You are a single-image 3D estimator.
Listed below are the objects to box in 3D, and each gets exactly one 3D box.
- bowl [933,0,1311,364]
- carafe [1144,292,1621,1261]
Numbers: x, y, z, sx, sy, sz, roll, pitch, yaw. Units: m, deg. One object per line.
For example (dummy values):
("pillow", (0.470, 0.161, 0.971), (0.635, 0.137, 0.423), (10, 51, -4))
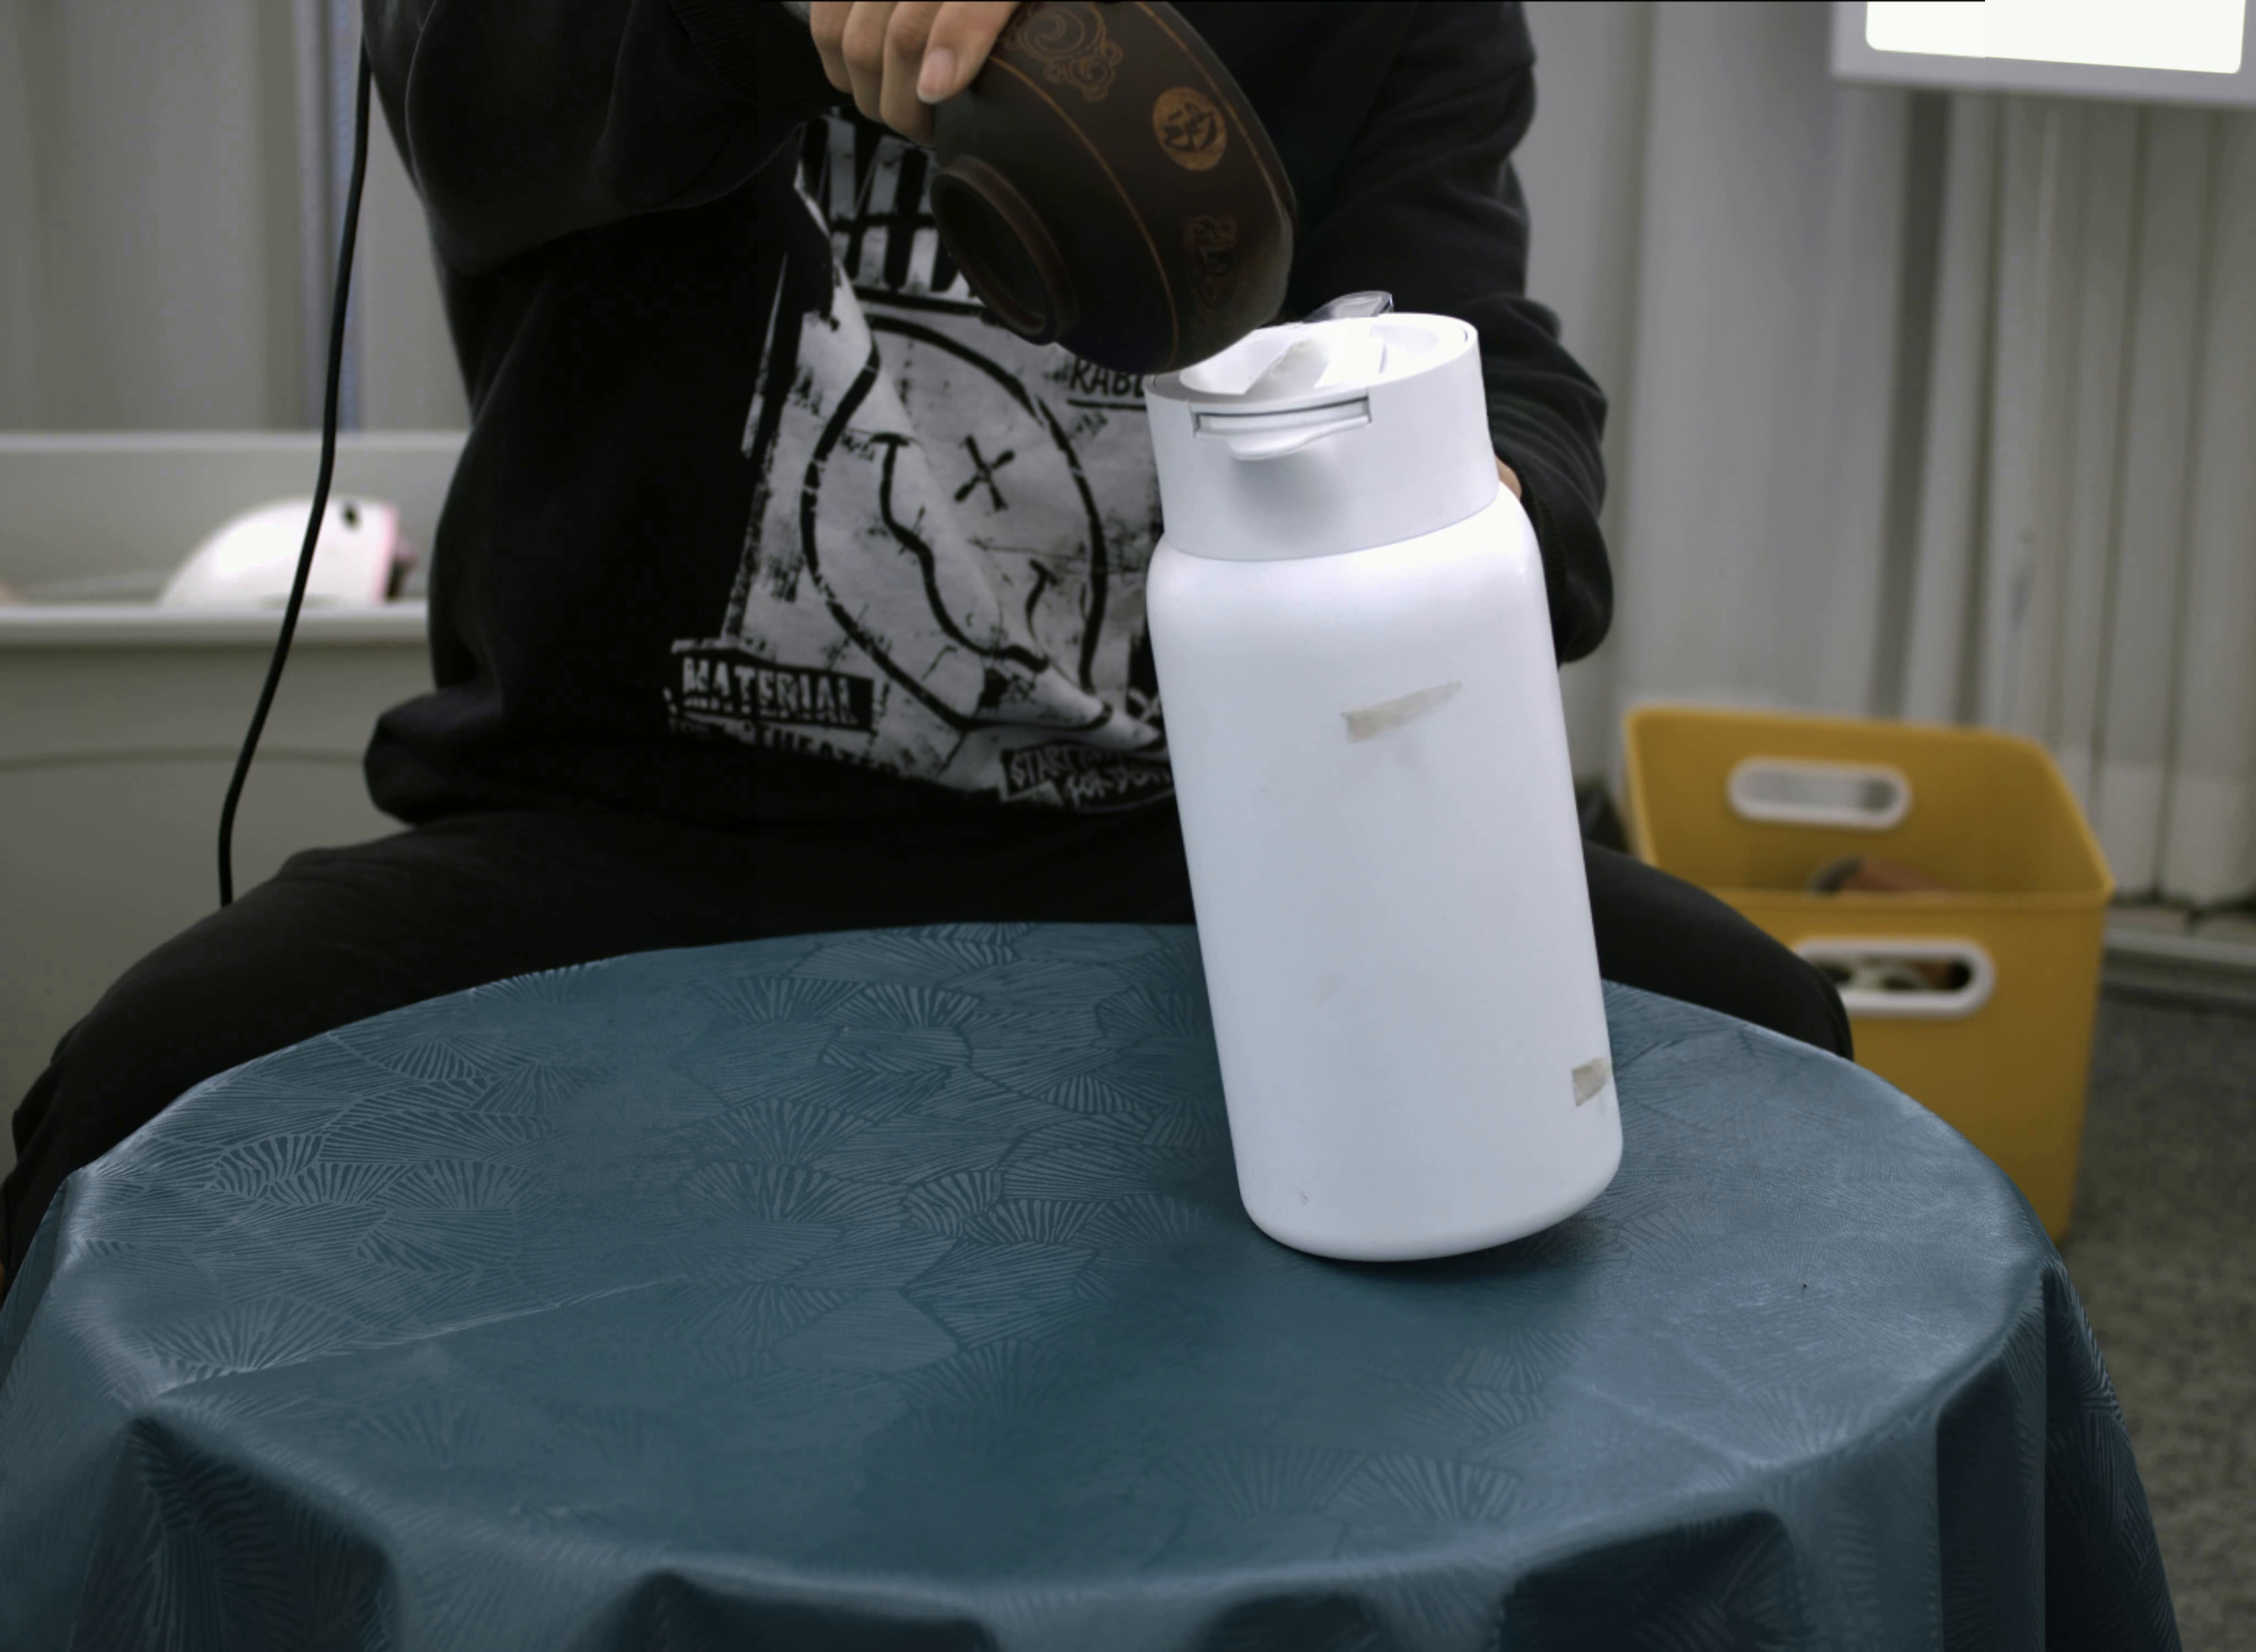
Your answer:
("bowl", (-0.011, -0.181, 1.475), (0.070, 0.119, 0.116), (-37, 30, -18))
("carafe", (0.075, -0.019, 1.572), (0.123, 0.271, 0.172), (-6, 18, 16))
